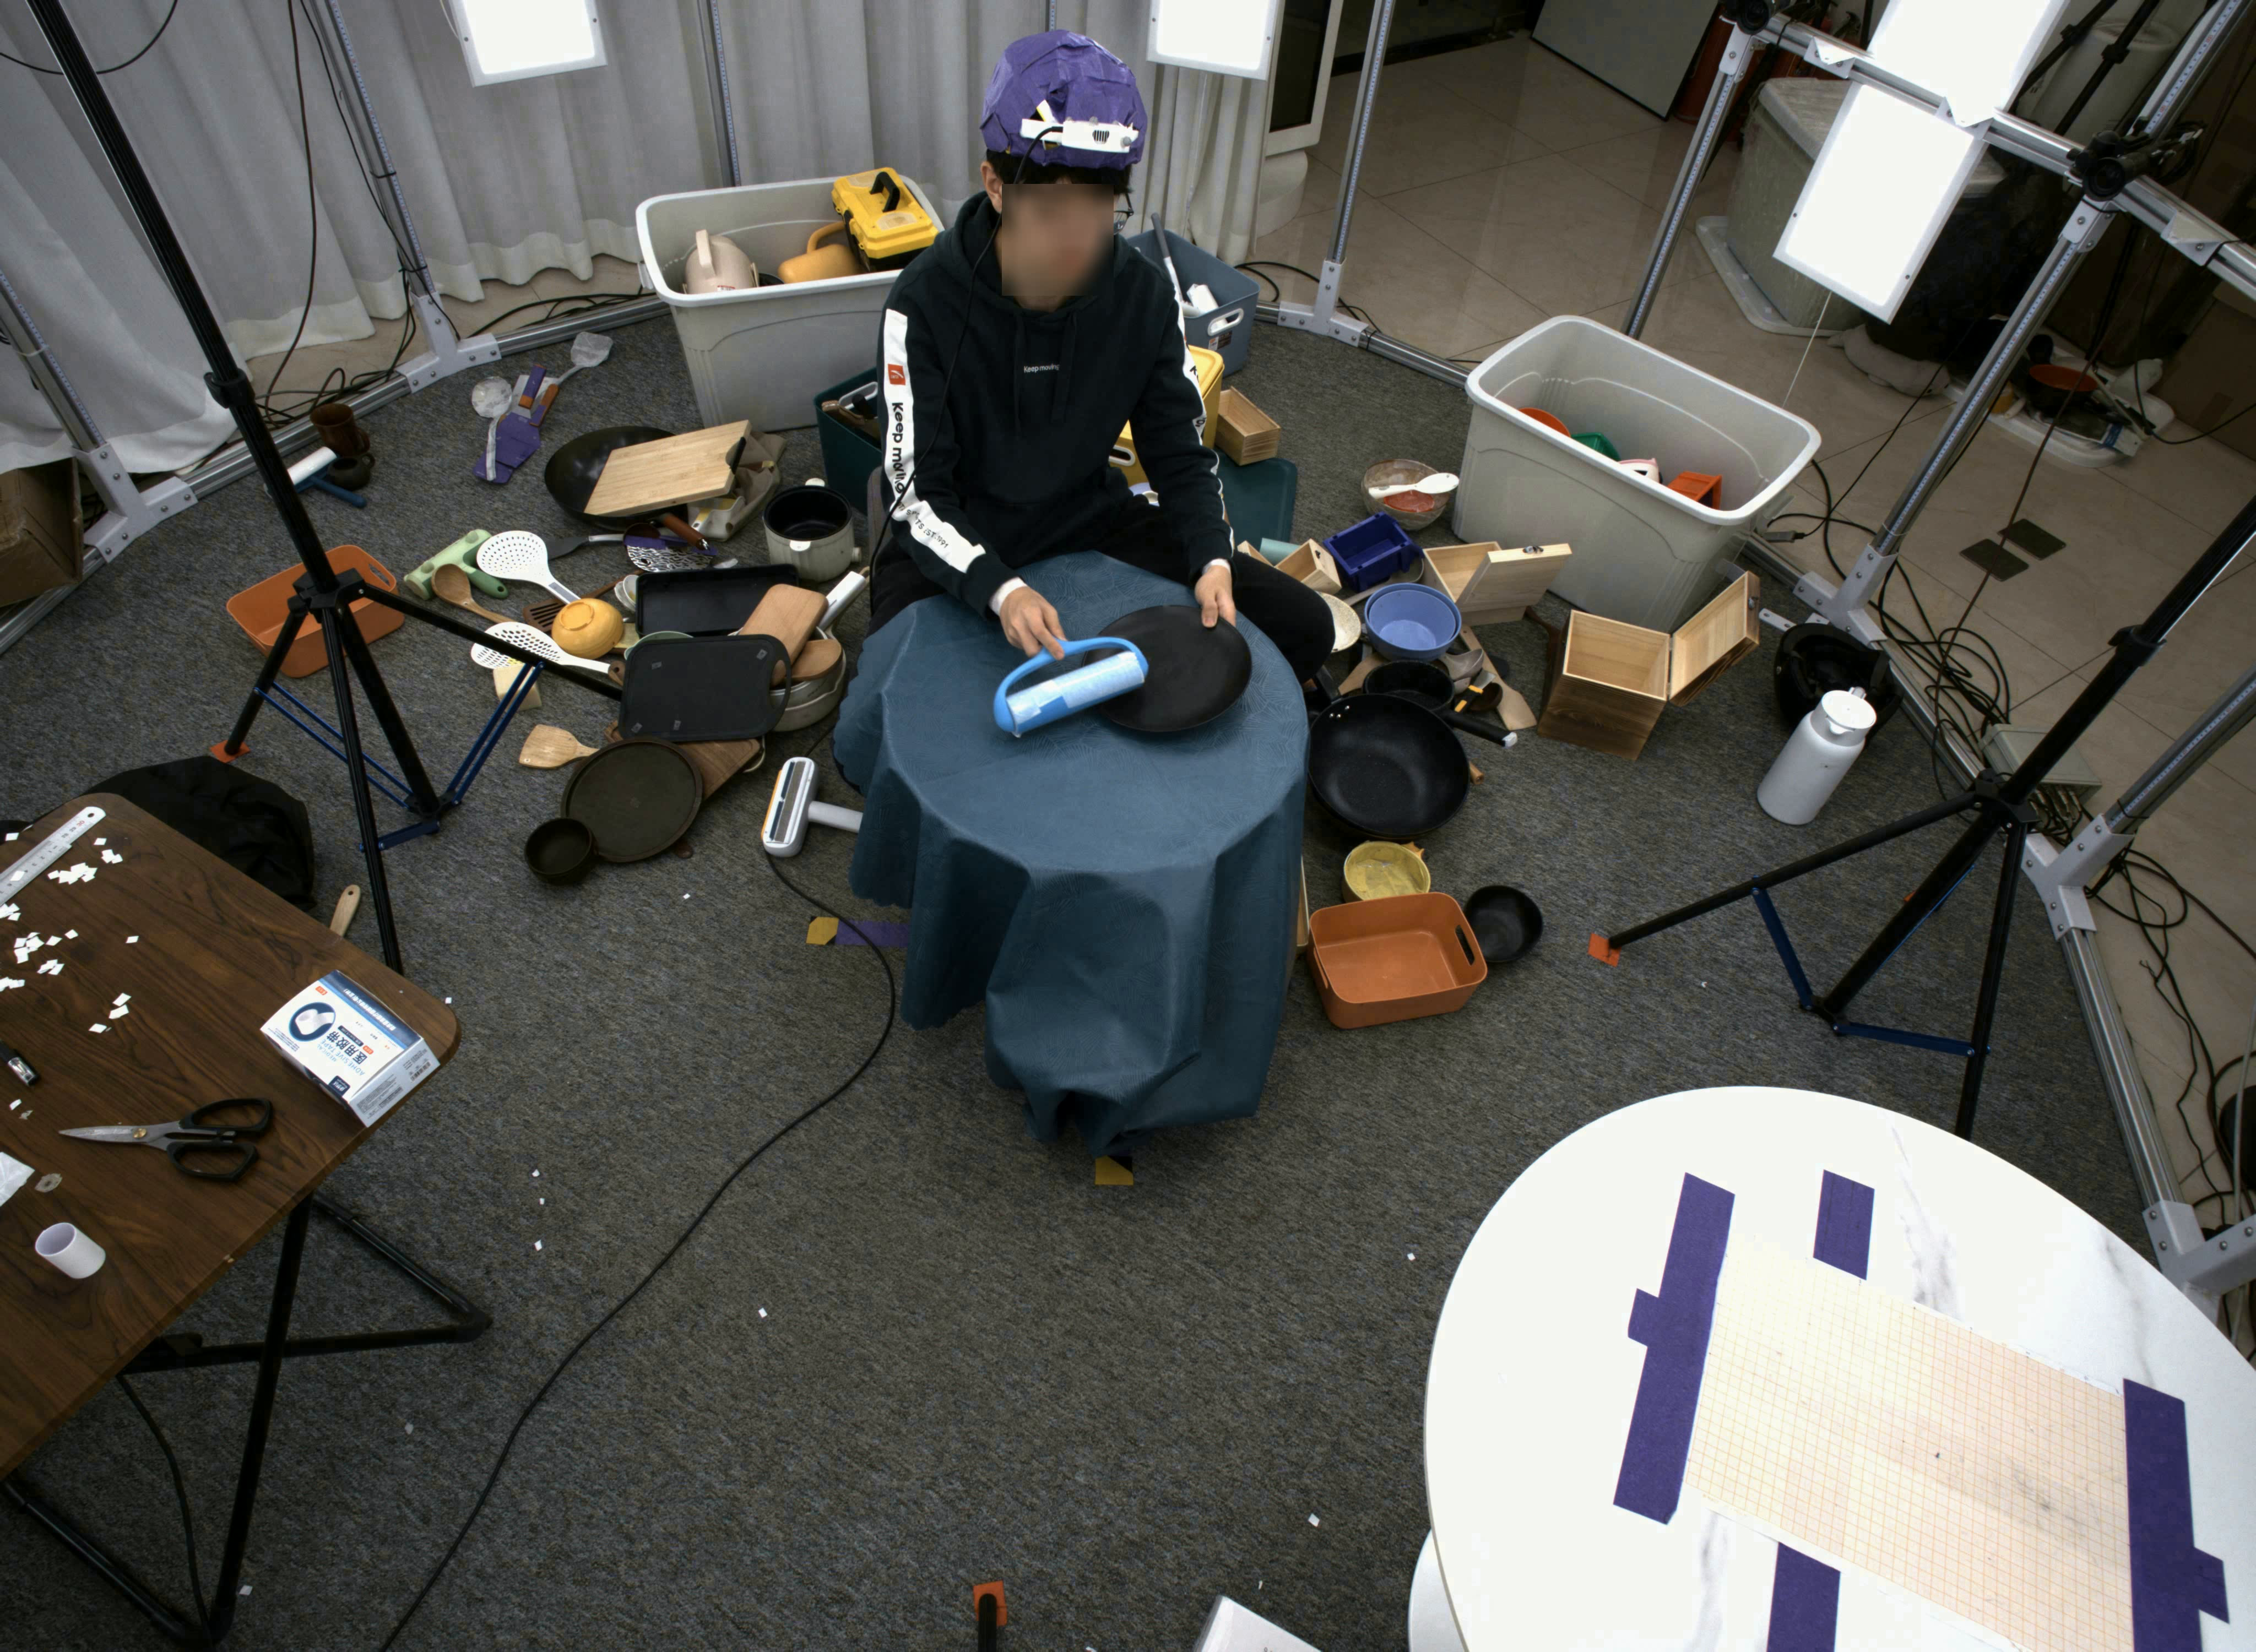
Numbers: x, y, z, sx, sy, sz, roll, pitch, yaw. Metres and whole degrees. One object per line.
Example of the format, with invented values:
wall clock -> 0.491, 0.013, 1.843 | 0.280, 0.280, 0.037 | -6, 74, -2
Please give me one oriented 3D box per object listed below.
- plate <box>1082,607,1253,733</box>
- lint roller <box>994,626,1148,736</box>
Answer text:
plate -> 0.056, -0.220, 1.830 | 0.244, 0.023, 0.250 | -4, 52, 4
lint roller -> -0.106, -0.228, 1.789 | 0.229, 0.066, 0.184 | -26, 61, -17
